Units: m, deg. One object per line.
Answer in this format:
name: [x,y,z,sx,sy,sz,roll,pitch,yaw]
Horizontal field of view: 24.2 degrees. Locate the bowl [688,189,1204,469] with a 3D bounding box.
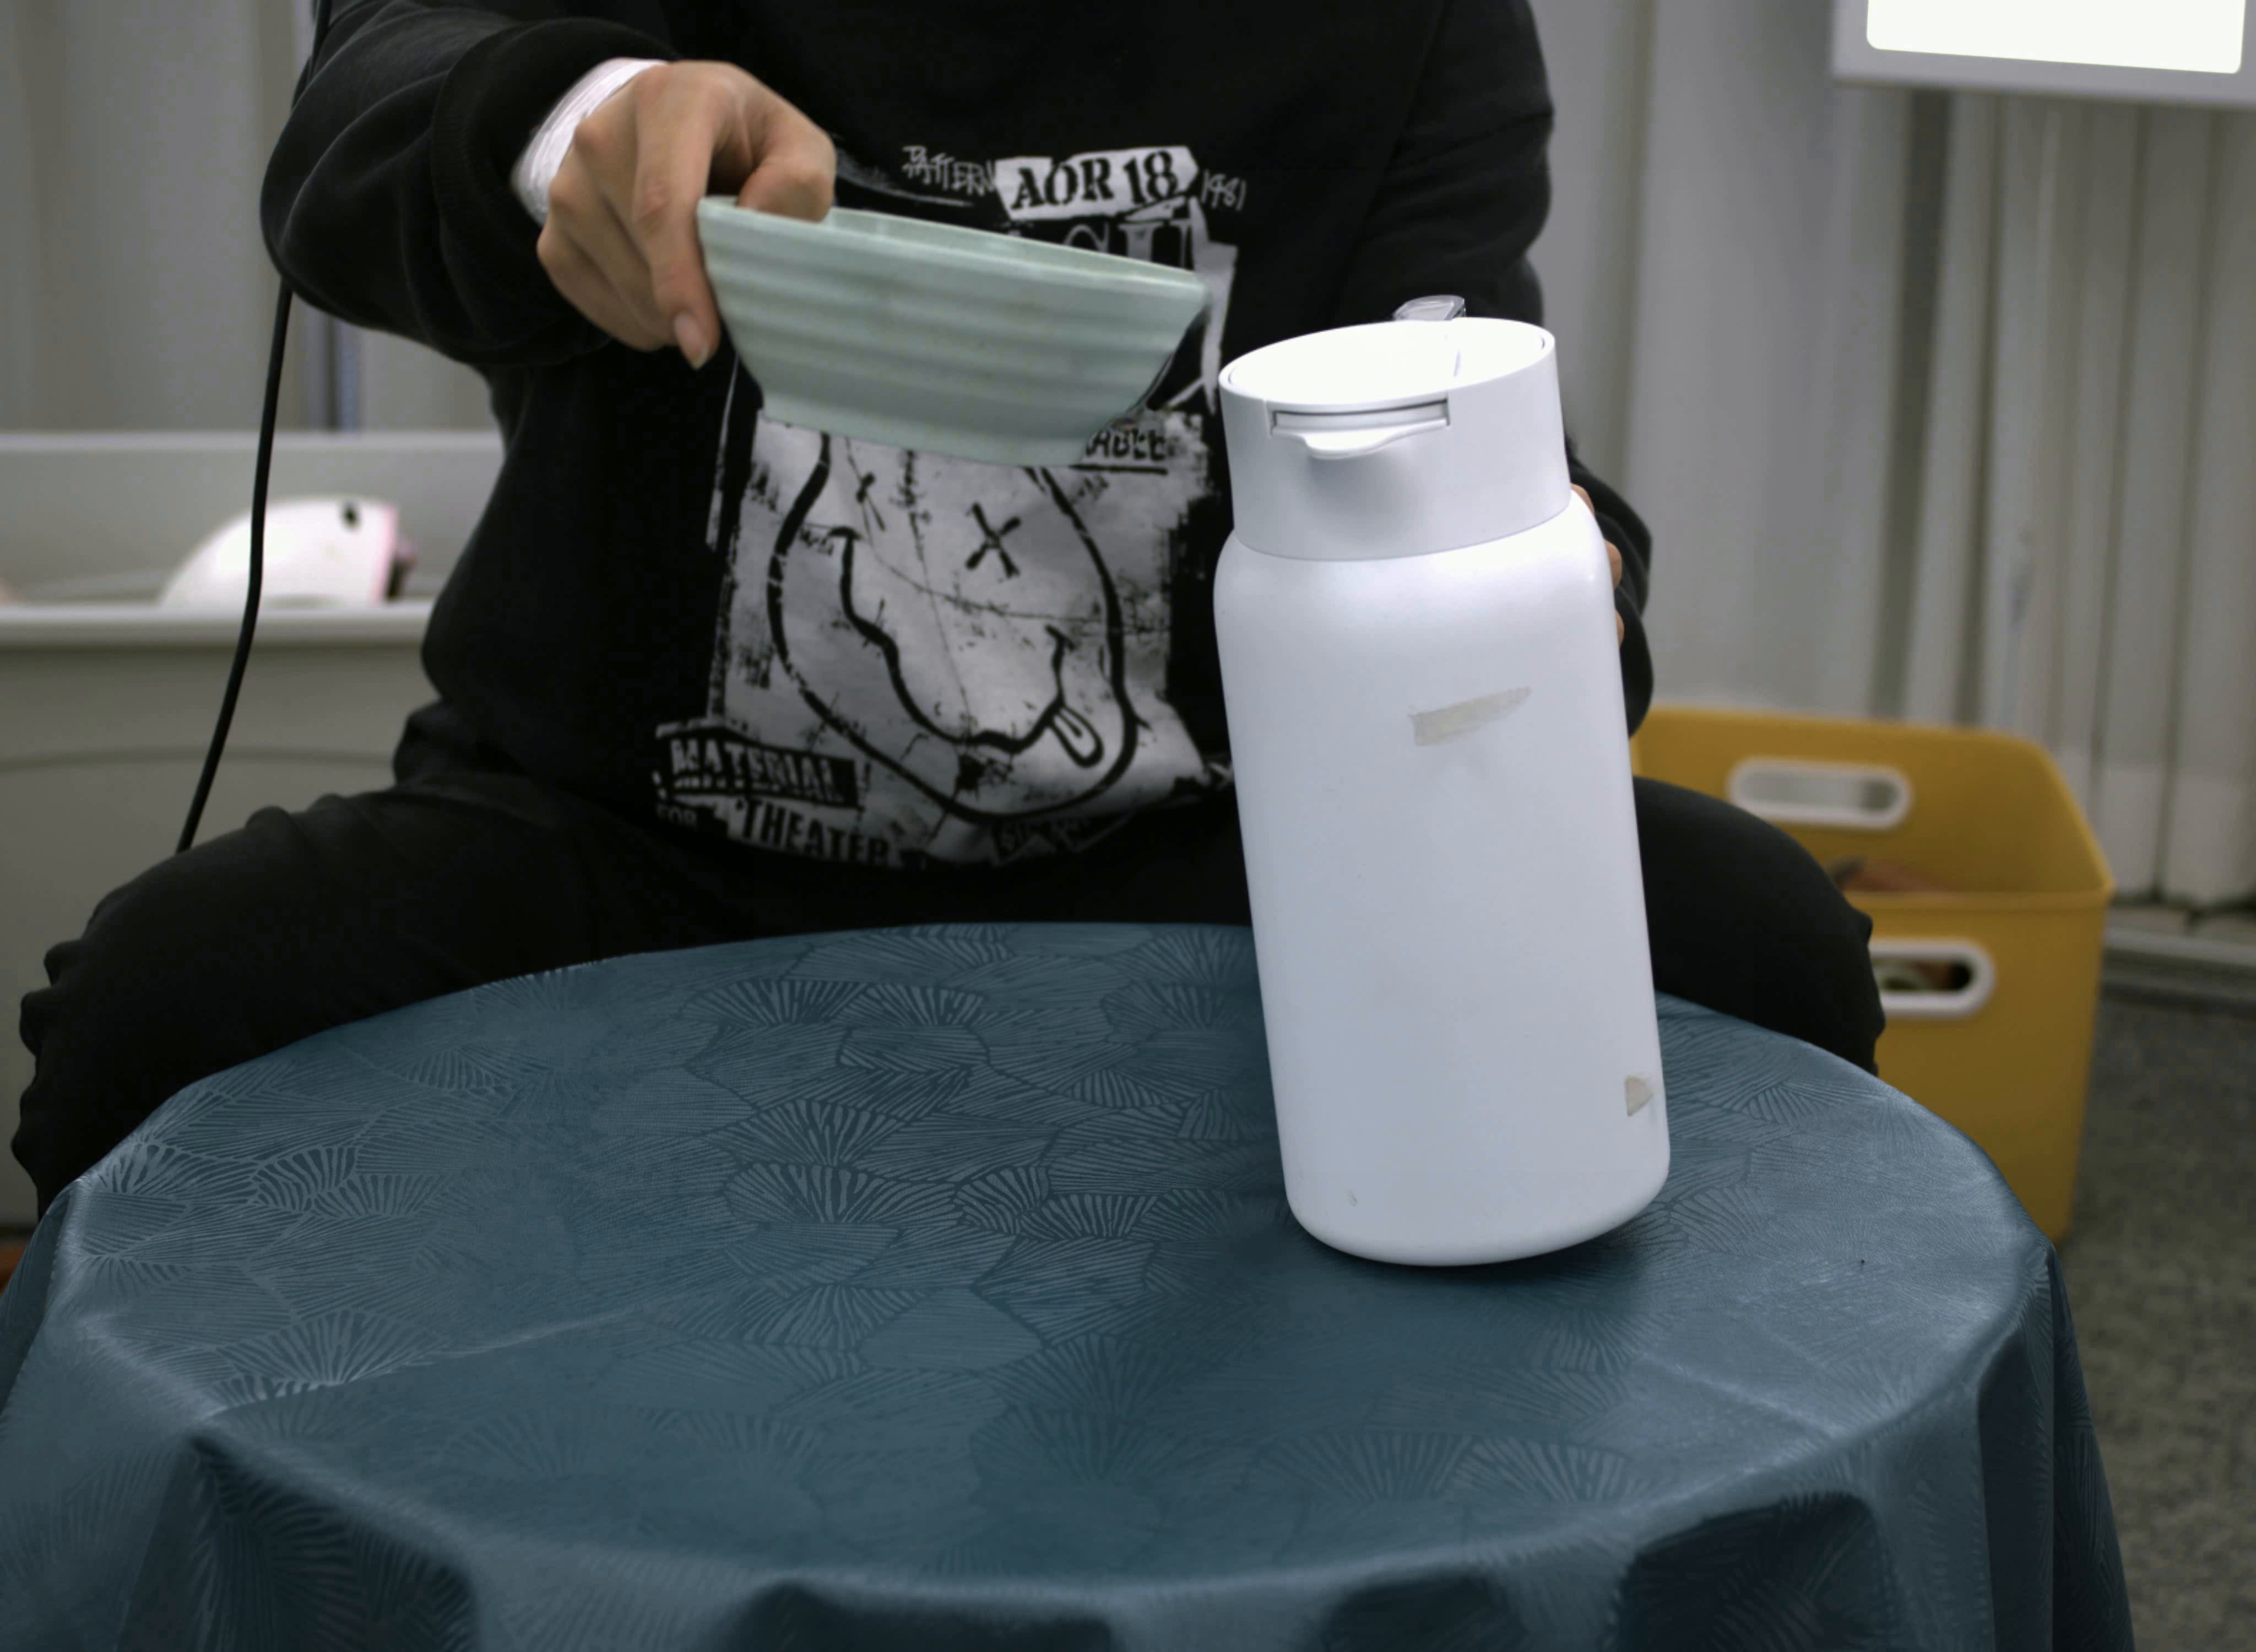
bowl: [-0.054,-0.137,1.465,0.151,0.059,0.151,10,10,-1]

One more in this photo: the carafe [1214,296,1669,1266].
carafe: [0.093,-0.018,1.571,0.123,0.271,0.172,-4,18,15]
